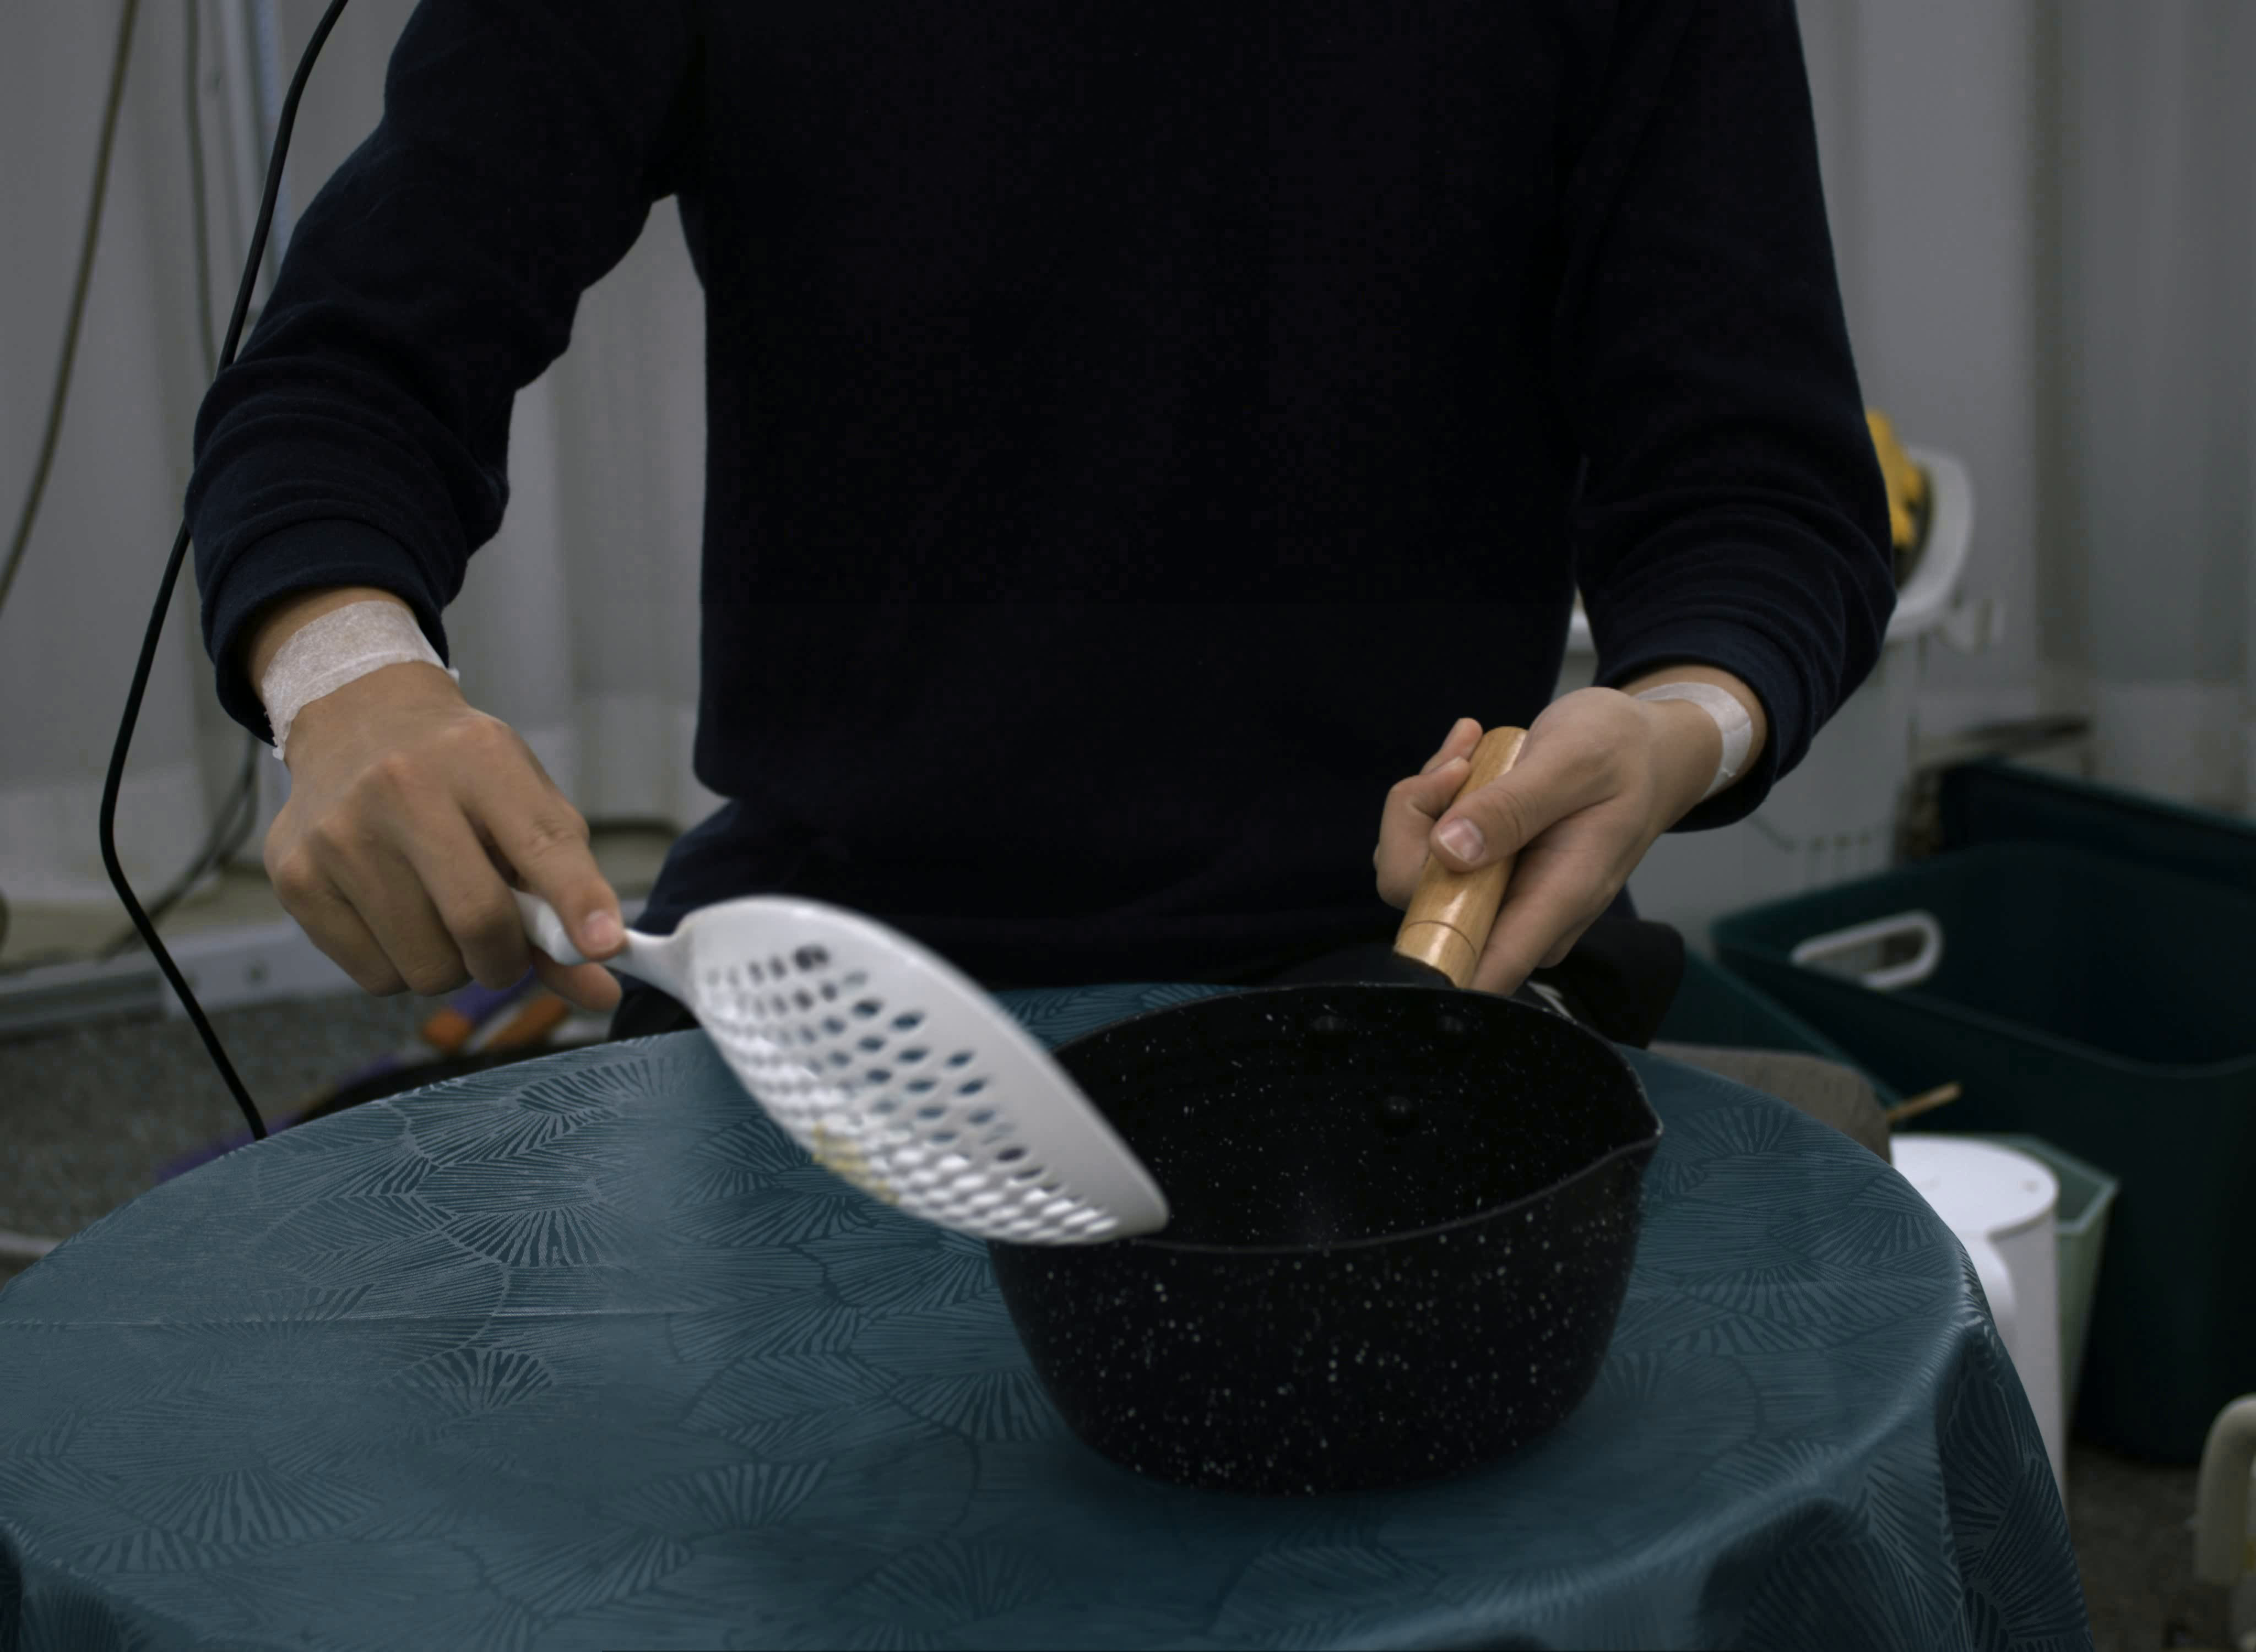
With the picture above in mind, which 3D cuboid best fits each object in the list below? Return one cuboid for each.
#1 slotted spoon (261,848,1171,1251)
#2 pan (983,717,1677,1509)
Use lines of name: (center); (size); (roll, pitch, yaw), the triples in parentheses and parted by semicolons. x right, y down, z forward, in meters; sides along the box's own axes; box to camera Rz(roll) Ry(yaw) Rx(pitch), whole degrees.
slotted spoon: (-0.126, 0.047, 1.485); (0.351, 0.135, 0.050); (24, 71, 48)
pan: (0.073, 0.078, 1.581); (0.207, 0.107, 0.345); (0, 22, 17)
